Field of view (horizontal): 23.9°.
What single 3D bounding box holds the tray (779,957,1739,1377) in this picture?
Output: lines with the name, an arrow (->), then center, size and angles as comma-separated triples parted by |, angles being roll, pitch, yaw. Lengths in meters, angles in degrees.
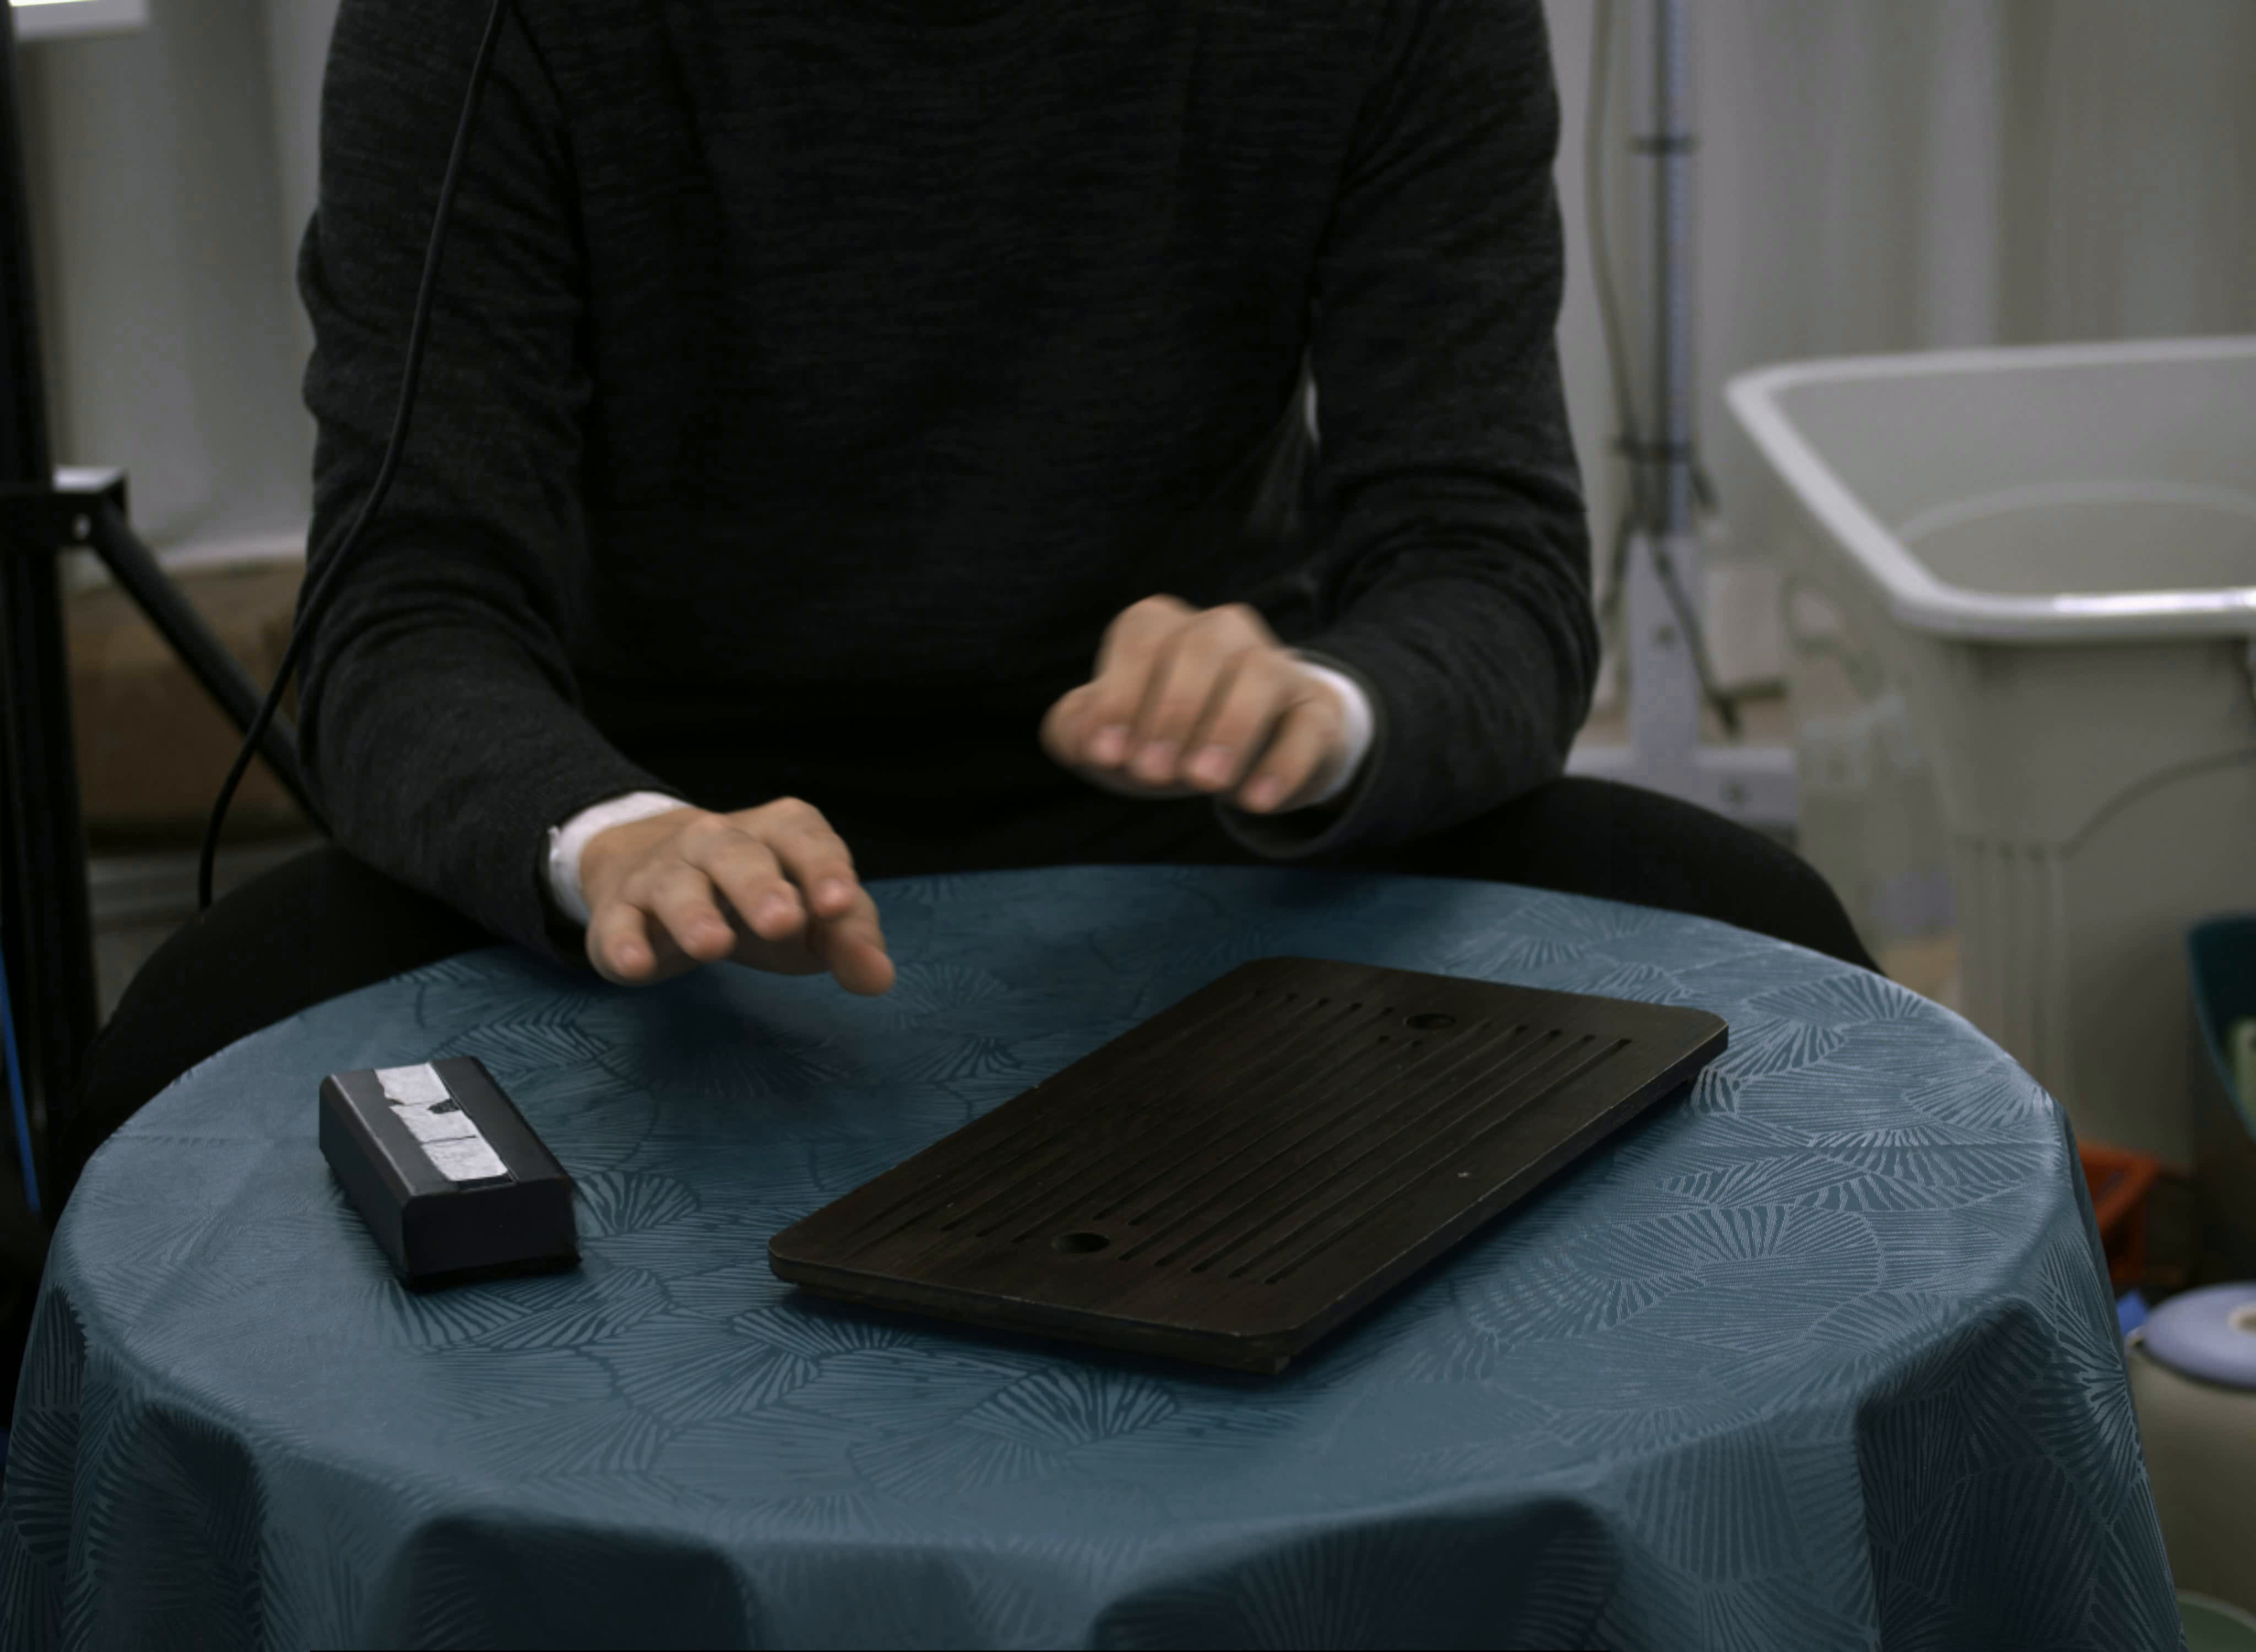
tray -> 0.046, 0.096, 1.557 | 0.173, 0.018, 0.300 | 6, 18, 30

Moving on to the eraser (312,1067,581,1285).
eraser -> -0.200, 0.102, 1.562 | 0.052, 0.030, 0.127 | -5, 15, -19
